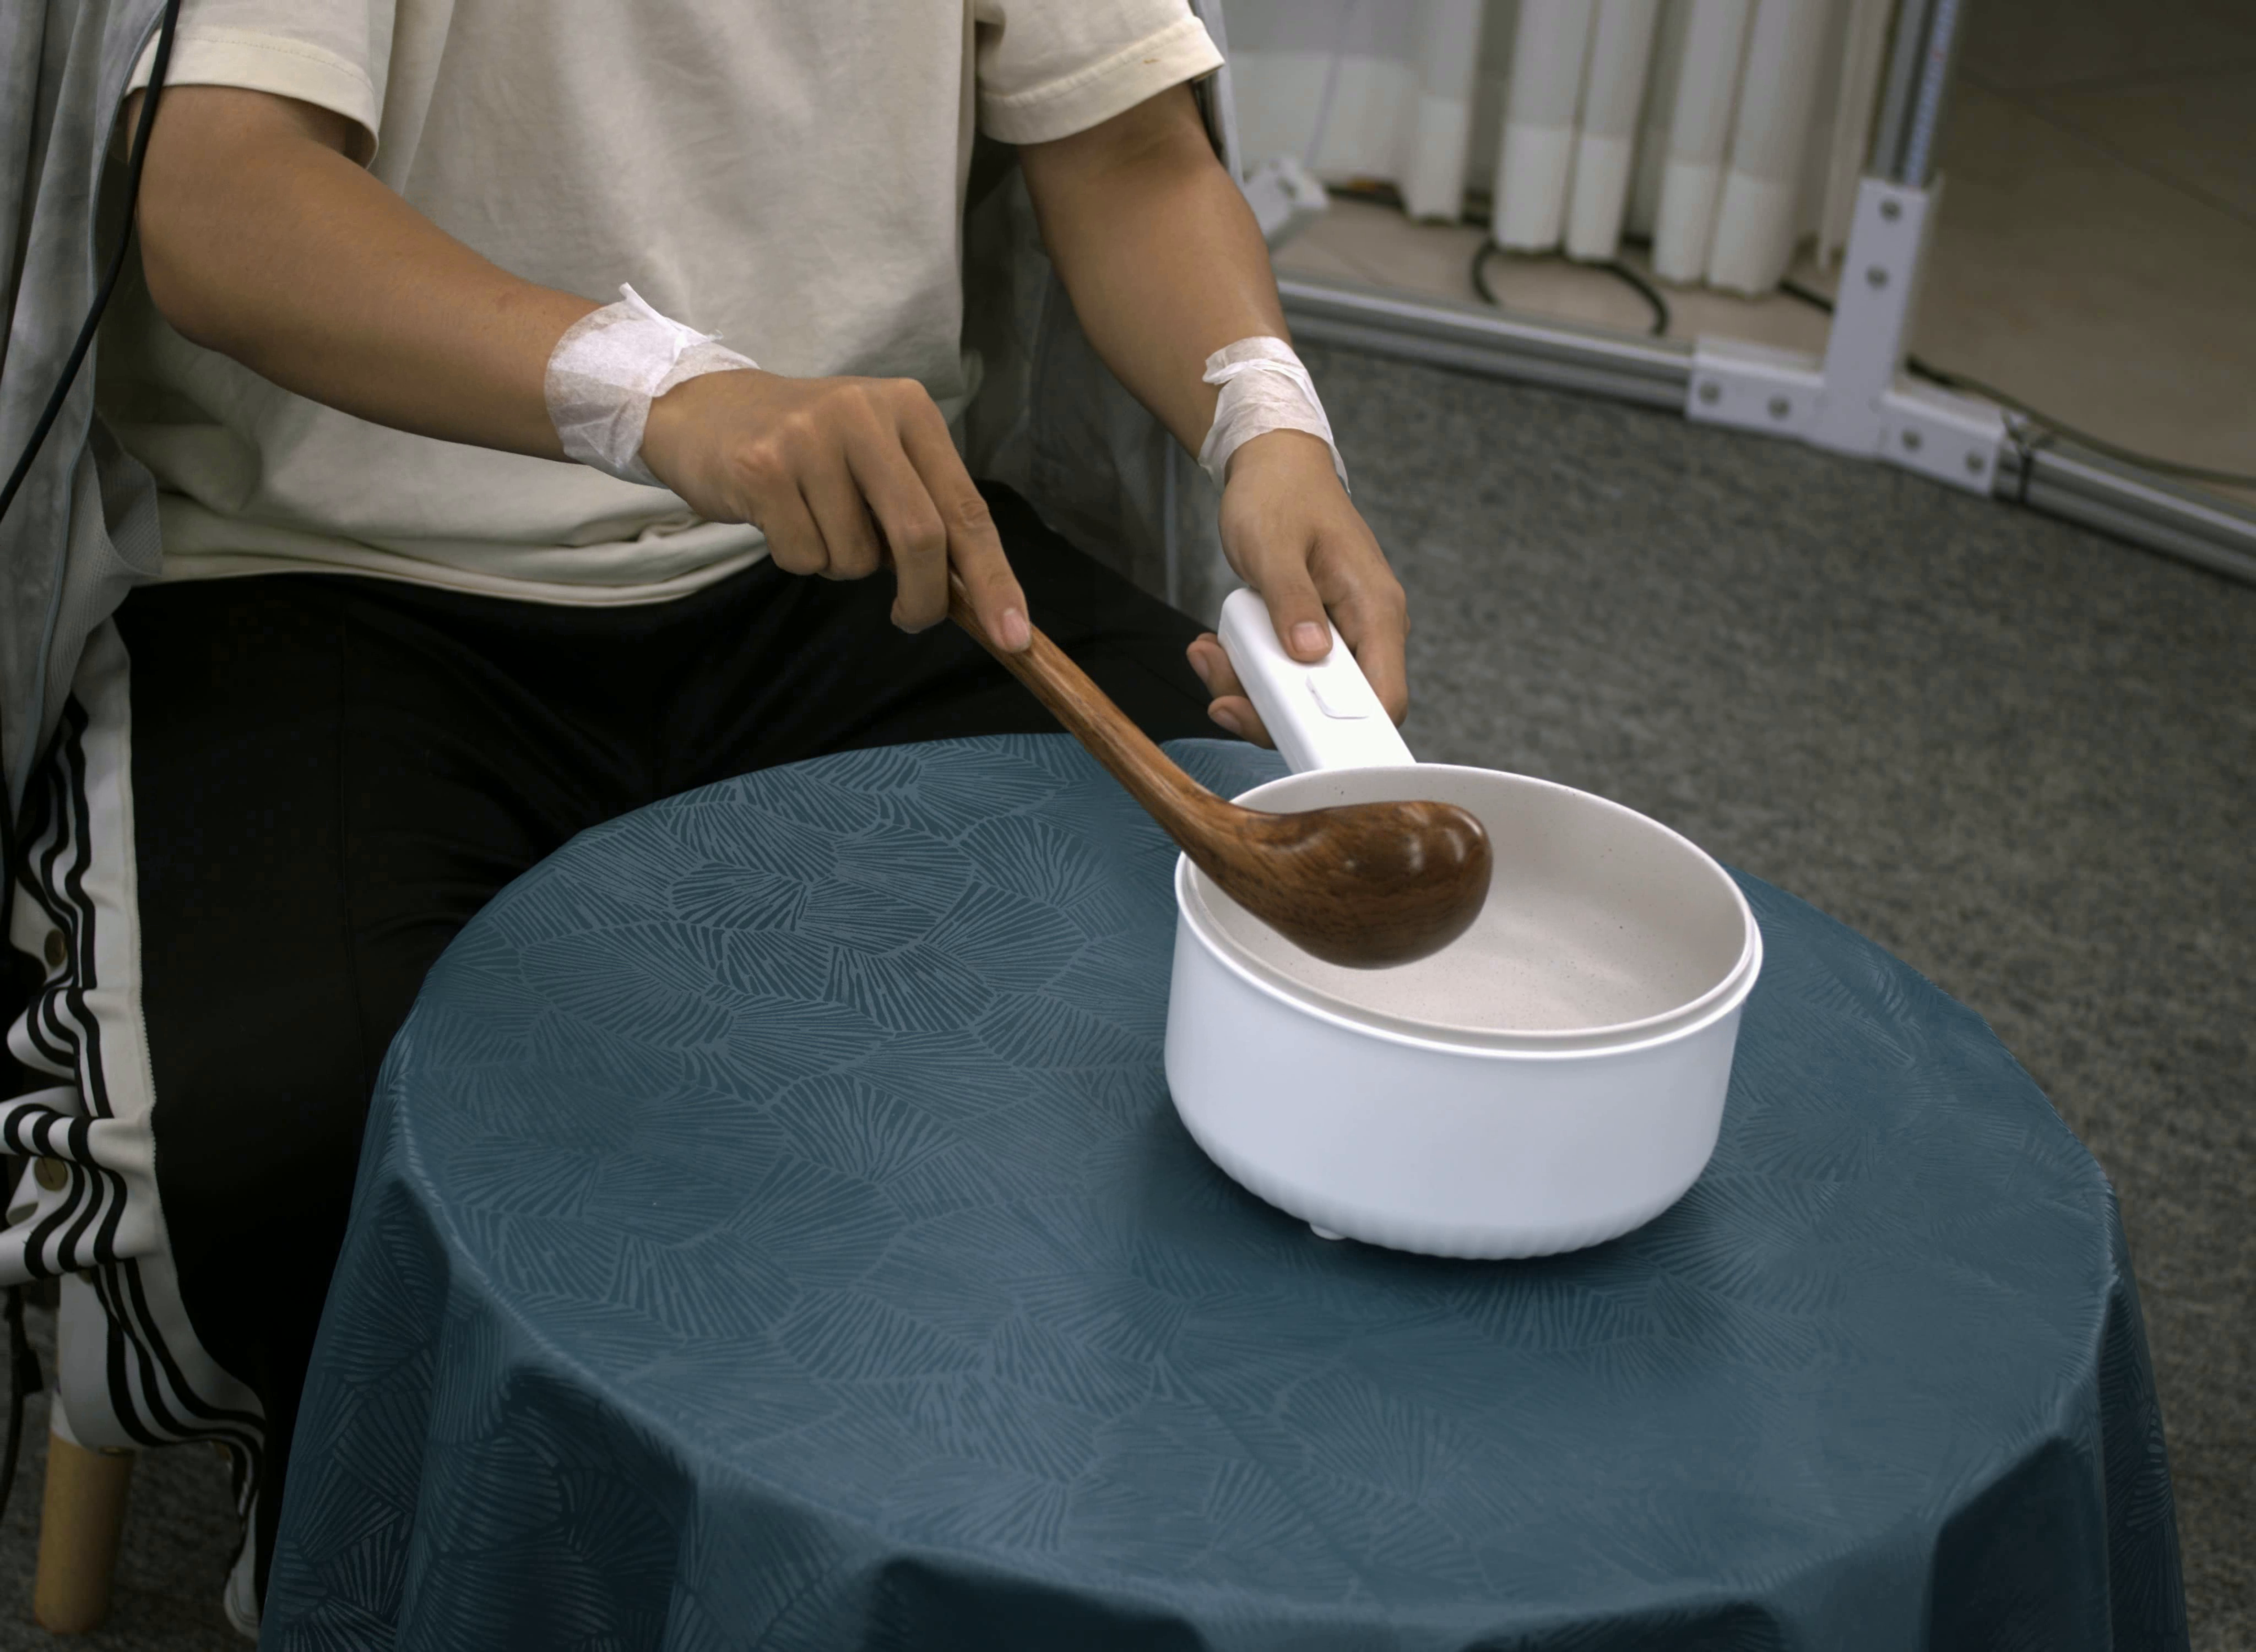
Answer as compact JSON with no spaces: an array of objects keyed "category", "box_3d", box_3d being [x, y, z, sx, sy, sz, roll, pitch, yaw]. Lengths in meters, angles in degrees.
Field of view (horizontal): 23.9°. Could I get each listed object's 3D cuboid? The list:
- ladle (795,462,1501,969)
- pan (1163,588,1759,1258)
[{"category":"ladle","box_3d":[0.008,-0.049,1.798,0.275,0.081,0.076,42,50,19]},{"category":"pan","box_3d":[0.093,0.032,1.897,0.200,0.102,0.358,-1,27,-14]}]
